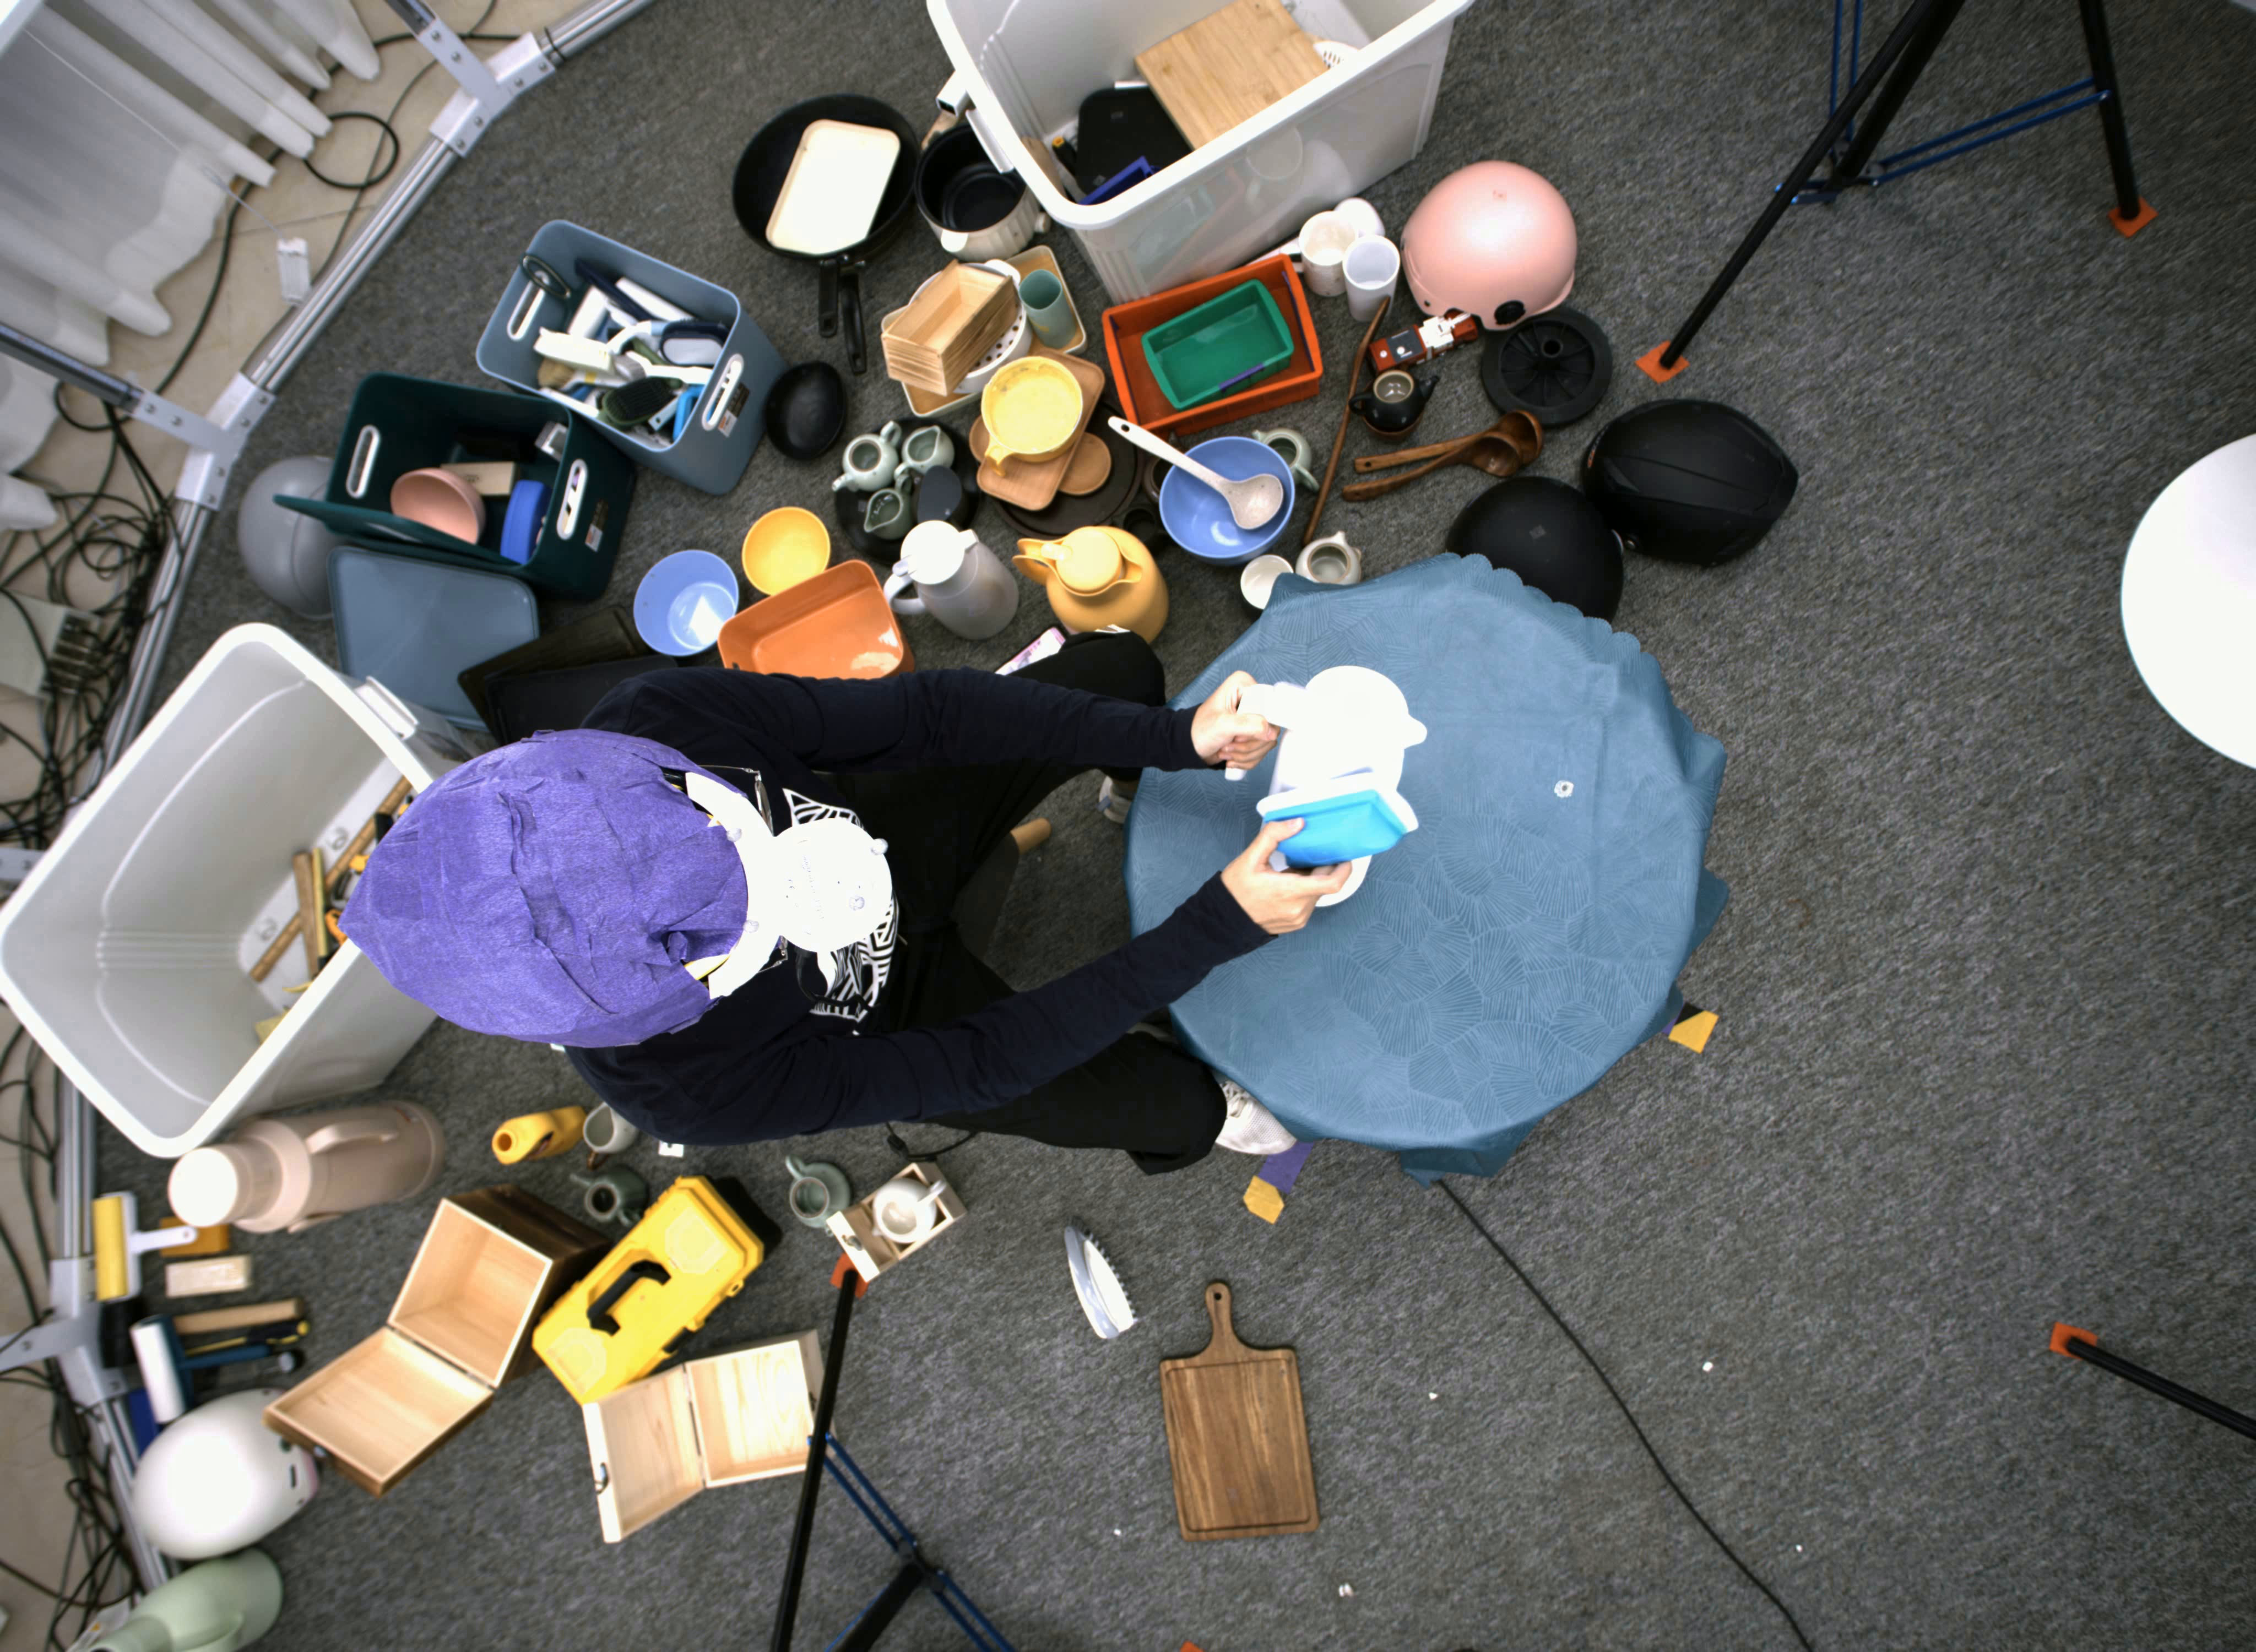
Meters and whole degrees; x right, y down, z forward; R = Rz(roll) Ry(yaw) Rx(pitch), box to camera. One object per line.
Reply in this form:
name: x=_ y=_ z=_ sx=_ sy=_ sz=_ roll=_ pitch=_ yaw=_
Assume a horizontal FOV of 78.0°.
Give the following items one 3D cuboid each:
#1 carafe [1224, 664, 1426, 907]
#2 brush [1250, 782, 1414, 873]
carafe: x=0.179 y=-0.037 z=1.337 sx=0.173 sy=0.275 sz=0.121 roll=14 pitch=61 yaw=7
brush: x=0.180 y=0.008 z=1.248 sx=0.146 sy=0.085 sz=0.054 roll=-12 pitch=44 yaw=37
